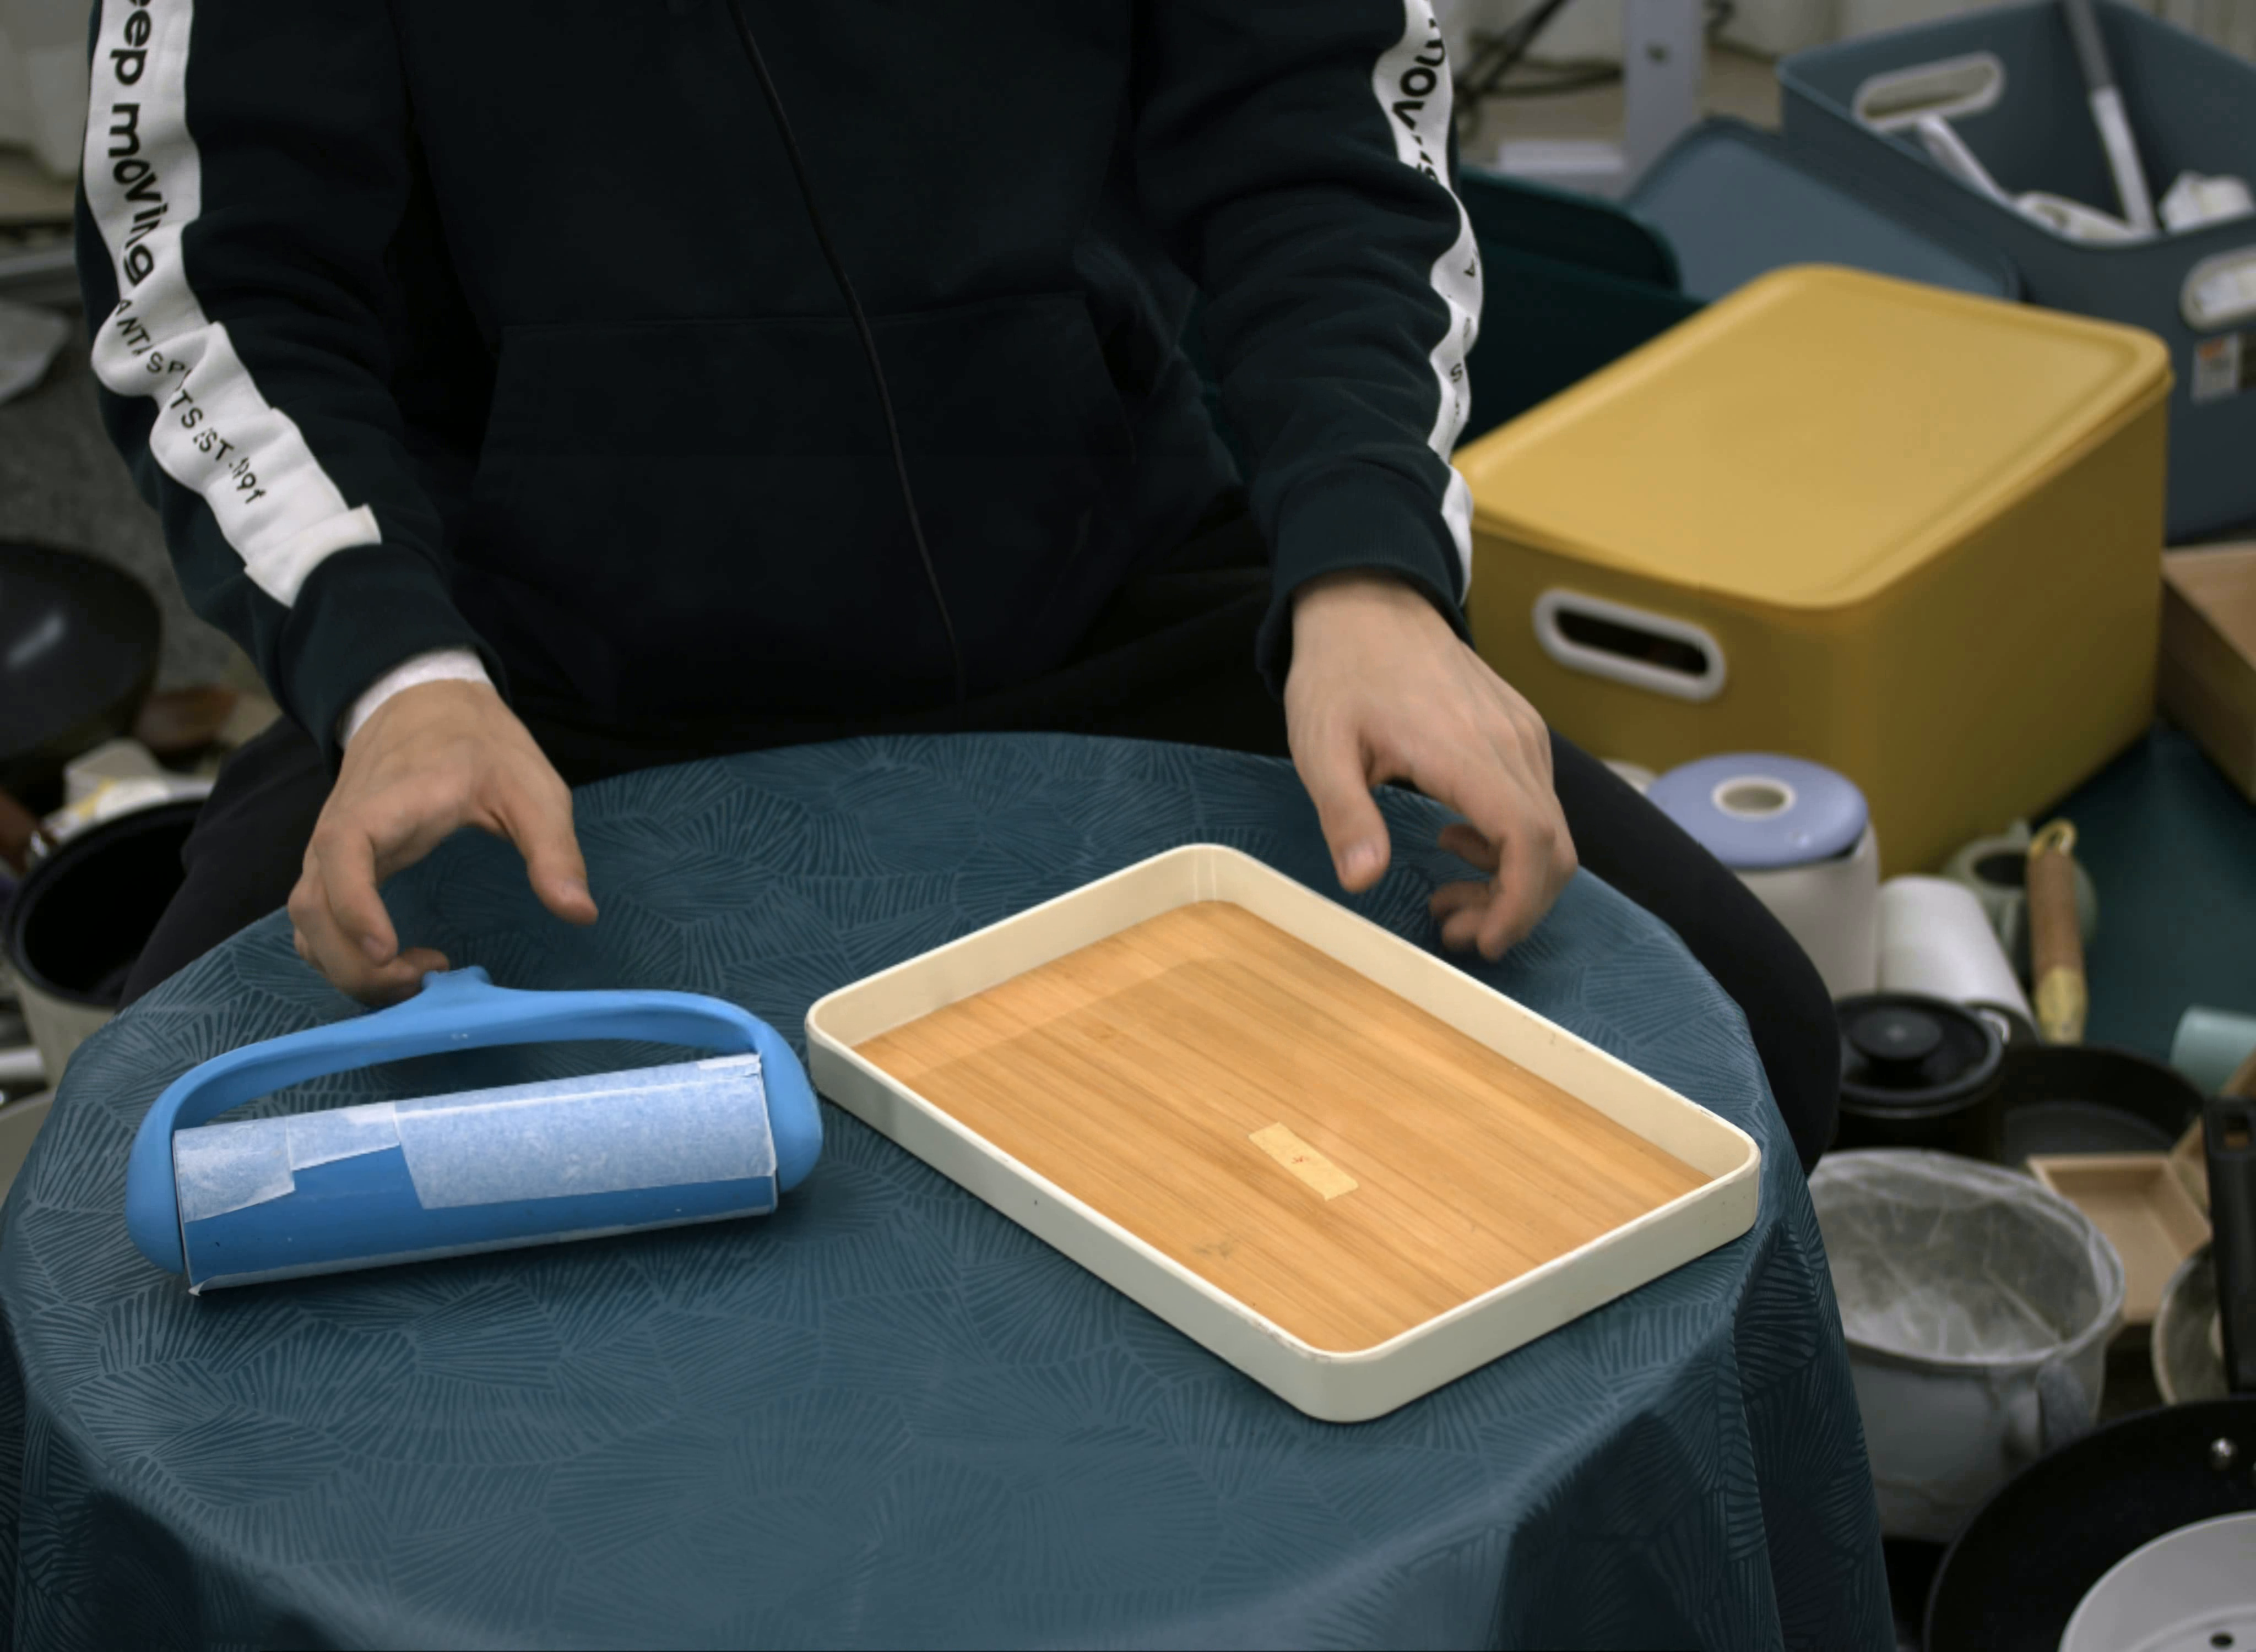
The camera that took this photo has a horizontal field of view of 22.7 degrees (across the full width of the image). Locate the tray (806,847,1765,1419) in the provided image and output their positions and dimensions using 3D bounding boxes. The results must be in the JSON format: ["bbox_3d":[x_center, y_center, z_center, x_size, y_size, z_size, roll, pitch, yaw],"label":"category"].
[{"bbox_3d":[0.048,0.097,1.875,0.193,0.027,0.300,-22,33,-32],"label":"tray"}]

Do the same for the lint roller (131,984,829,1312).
[{"bbox_3d":[-0.225,0.089,1.887,0.229,0.067,0.182,-11,29,-11],"label":"lint roller"}]
